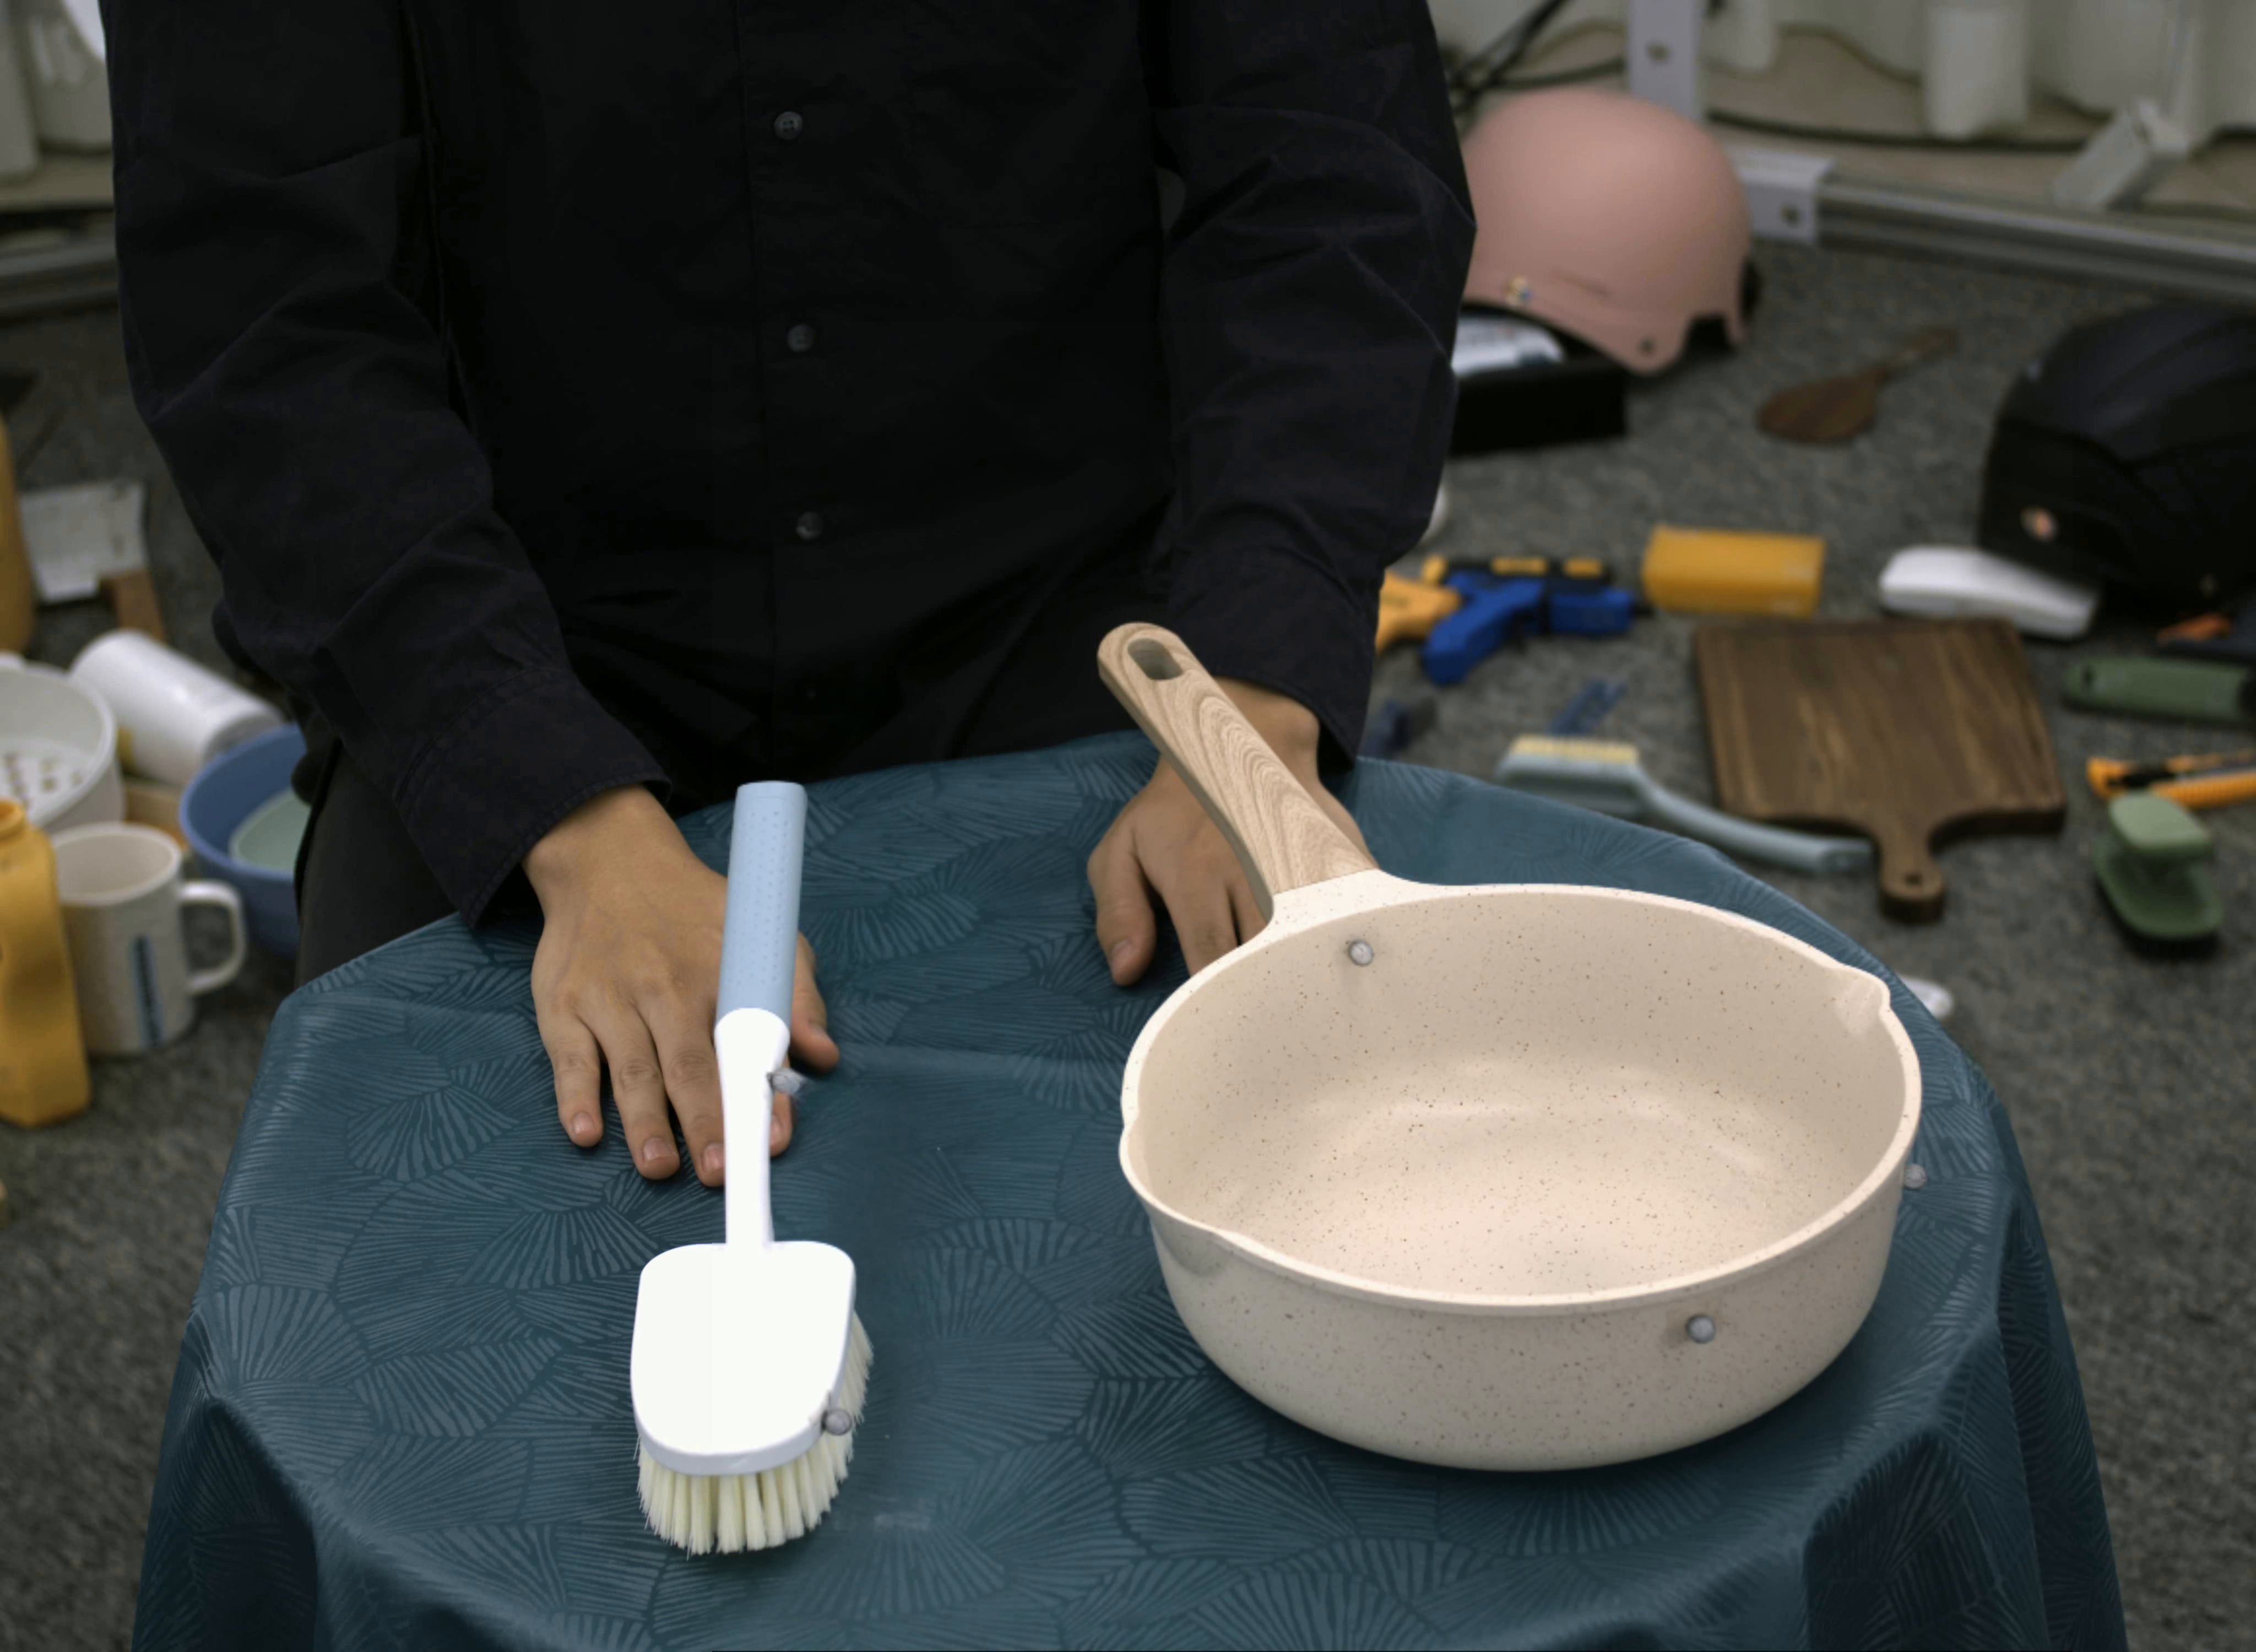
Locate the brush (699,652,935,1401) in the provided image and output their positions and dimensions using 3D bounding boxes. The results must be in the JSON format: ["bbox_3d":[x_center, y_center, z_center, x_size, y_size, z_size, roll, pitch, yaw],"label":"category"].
[{"bbox_3d":[-0.094,0.072,1.822,0.083,0.083,0.332,28,34,-21],"label":"brush"}]

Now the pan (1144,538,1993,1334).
[{"bbox_3d":[0.110,0.030,1.866,0.264,0.101,0.438,-15,30,-20],"label":"pan"}]
